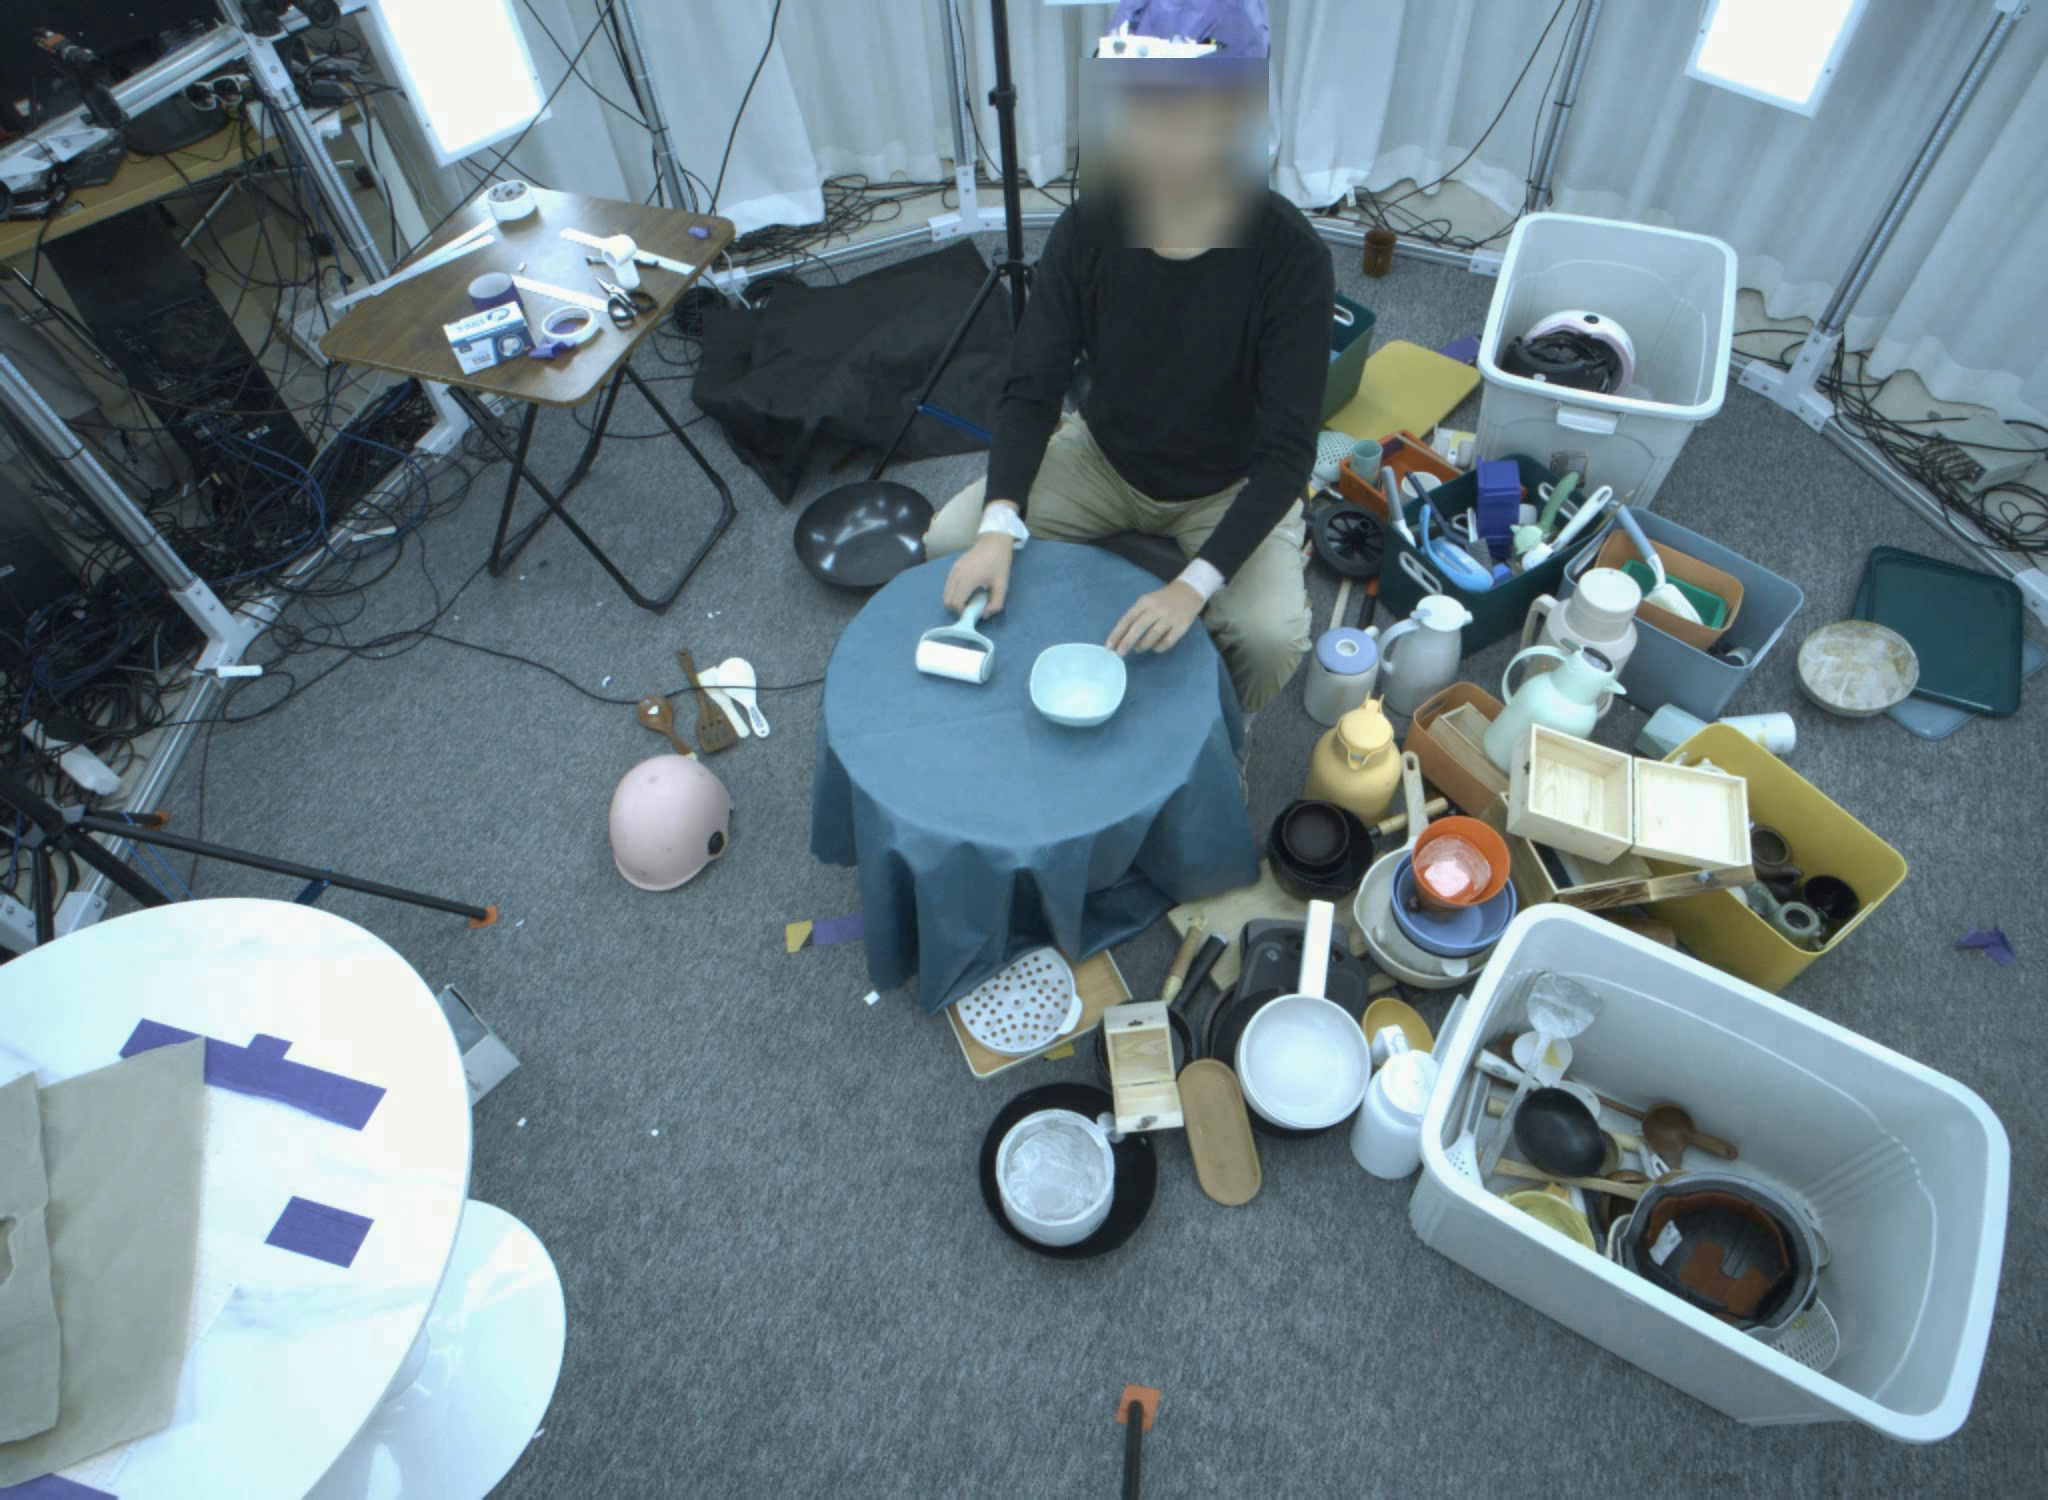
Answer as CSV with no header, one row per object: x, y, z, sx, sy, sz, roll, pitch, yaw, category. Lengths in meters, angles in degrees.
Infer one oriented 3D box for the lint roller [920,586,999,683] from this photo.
-0.079,-0.190,1.895,0.115,0.049,0.197,12,57,12,lint roller

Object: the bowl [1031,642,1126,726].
0.081,-0.087,1.812,0.151,0.059,0.150,-1,56,3,bowl
